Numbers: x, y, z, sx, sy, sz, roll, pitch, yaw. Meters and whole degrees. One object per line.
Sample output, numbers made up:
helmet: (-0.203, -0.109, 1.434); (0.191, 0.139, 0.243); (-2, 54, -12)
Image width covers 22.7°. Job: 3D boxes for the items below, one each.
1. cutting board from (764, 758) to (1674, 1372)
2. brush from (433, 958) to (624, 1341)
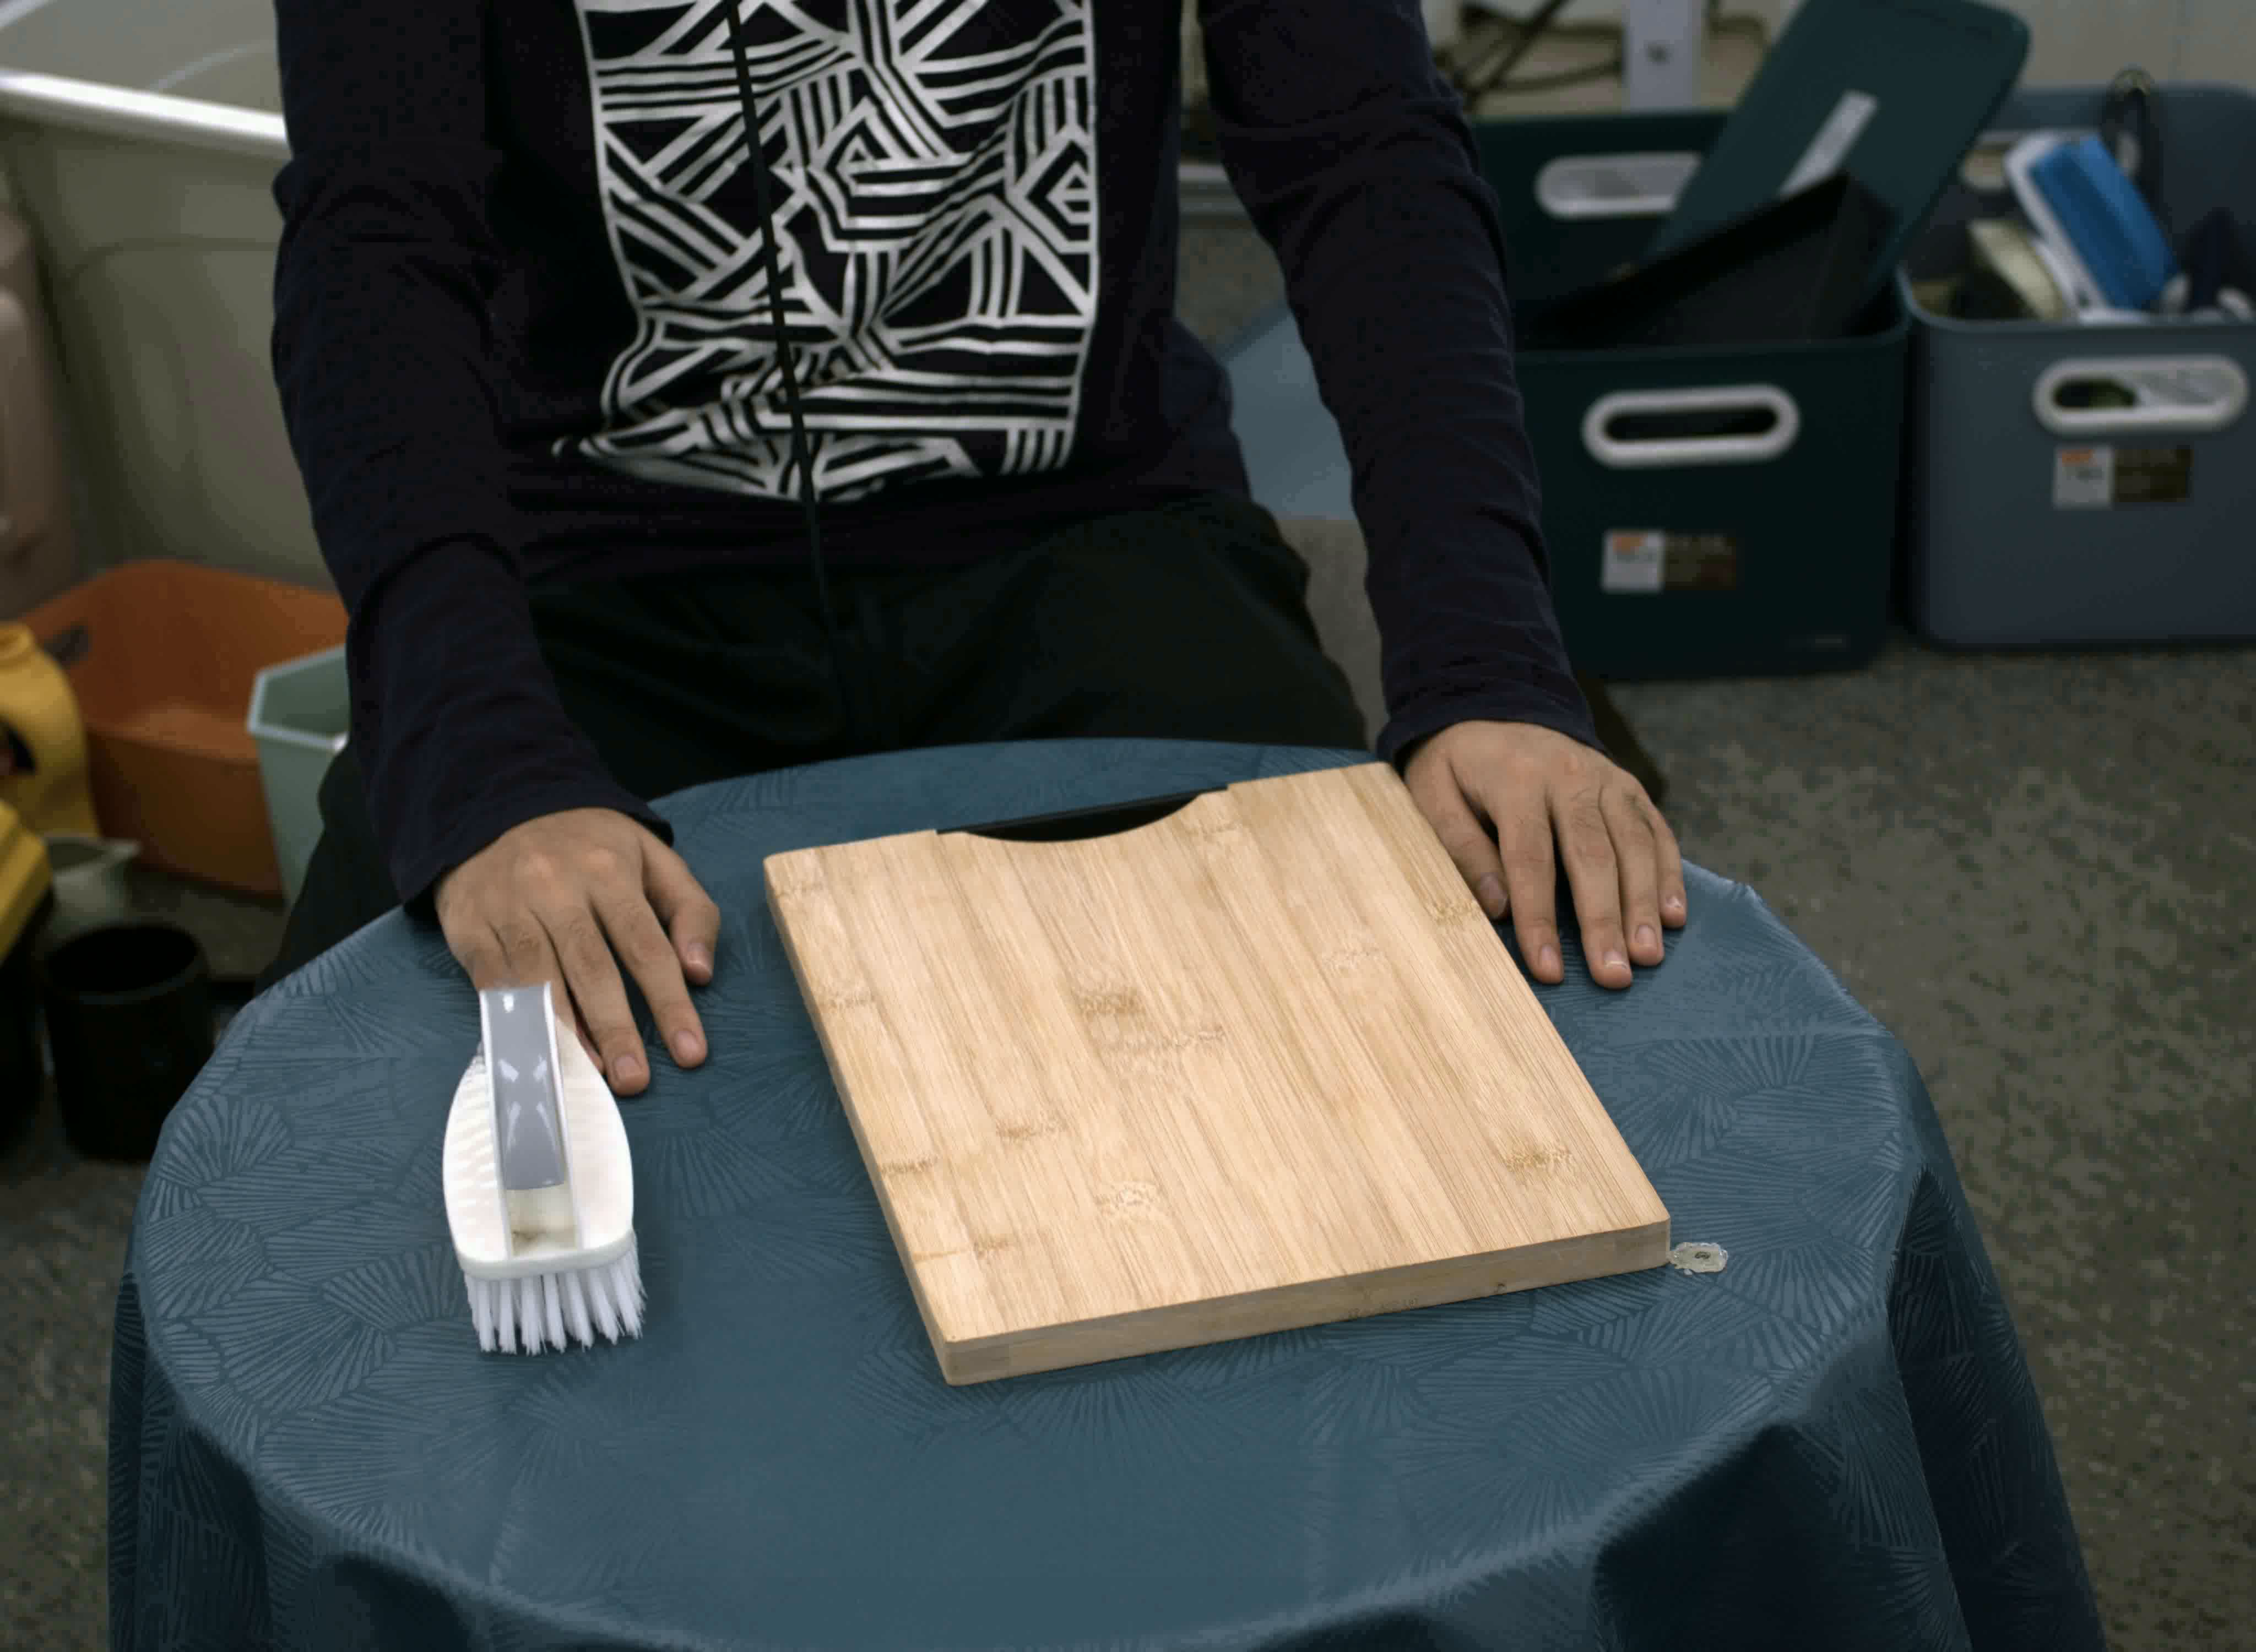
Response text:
cutting board: (0.021, 0.076, 1.930); (0.250, 0.023, 0.352); (-8, 27, -11)
brush: (-0.199, 0.091, 1.840); (0.061, 0.093, 0.177); (-5, 25, -7)
